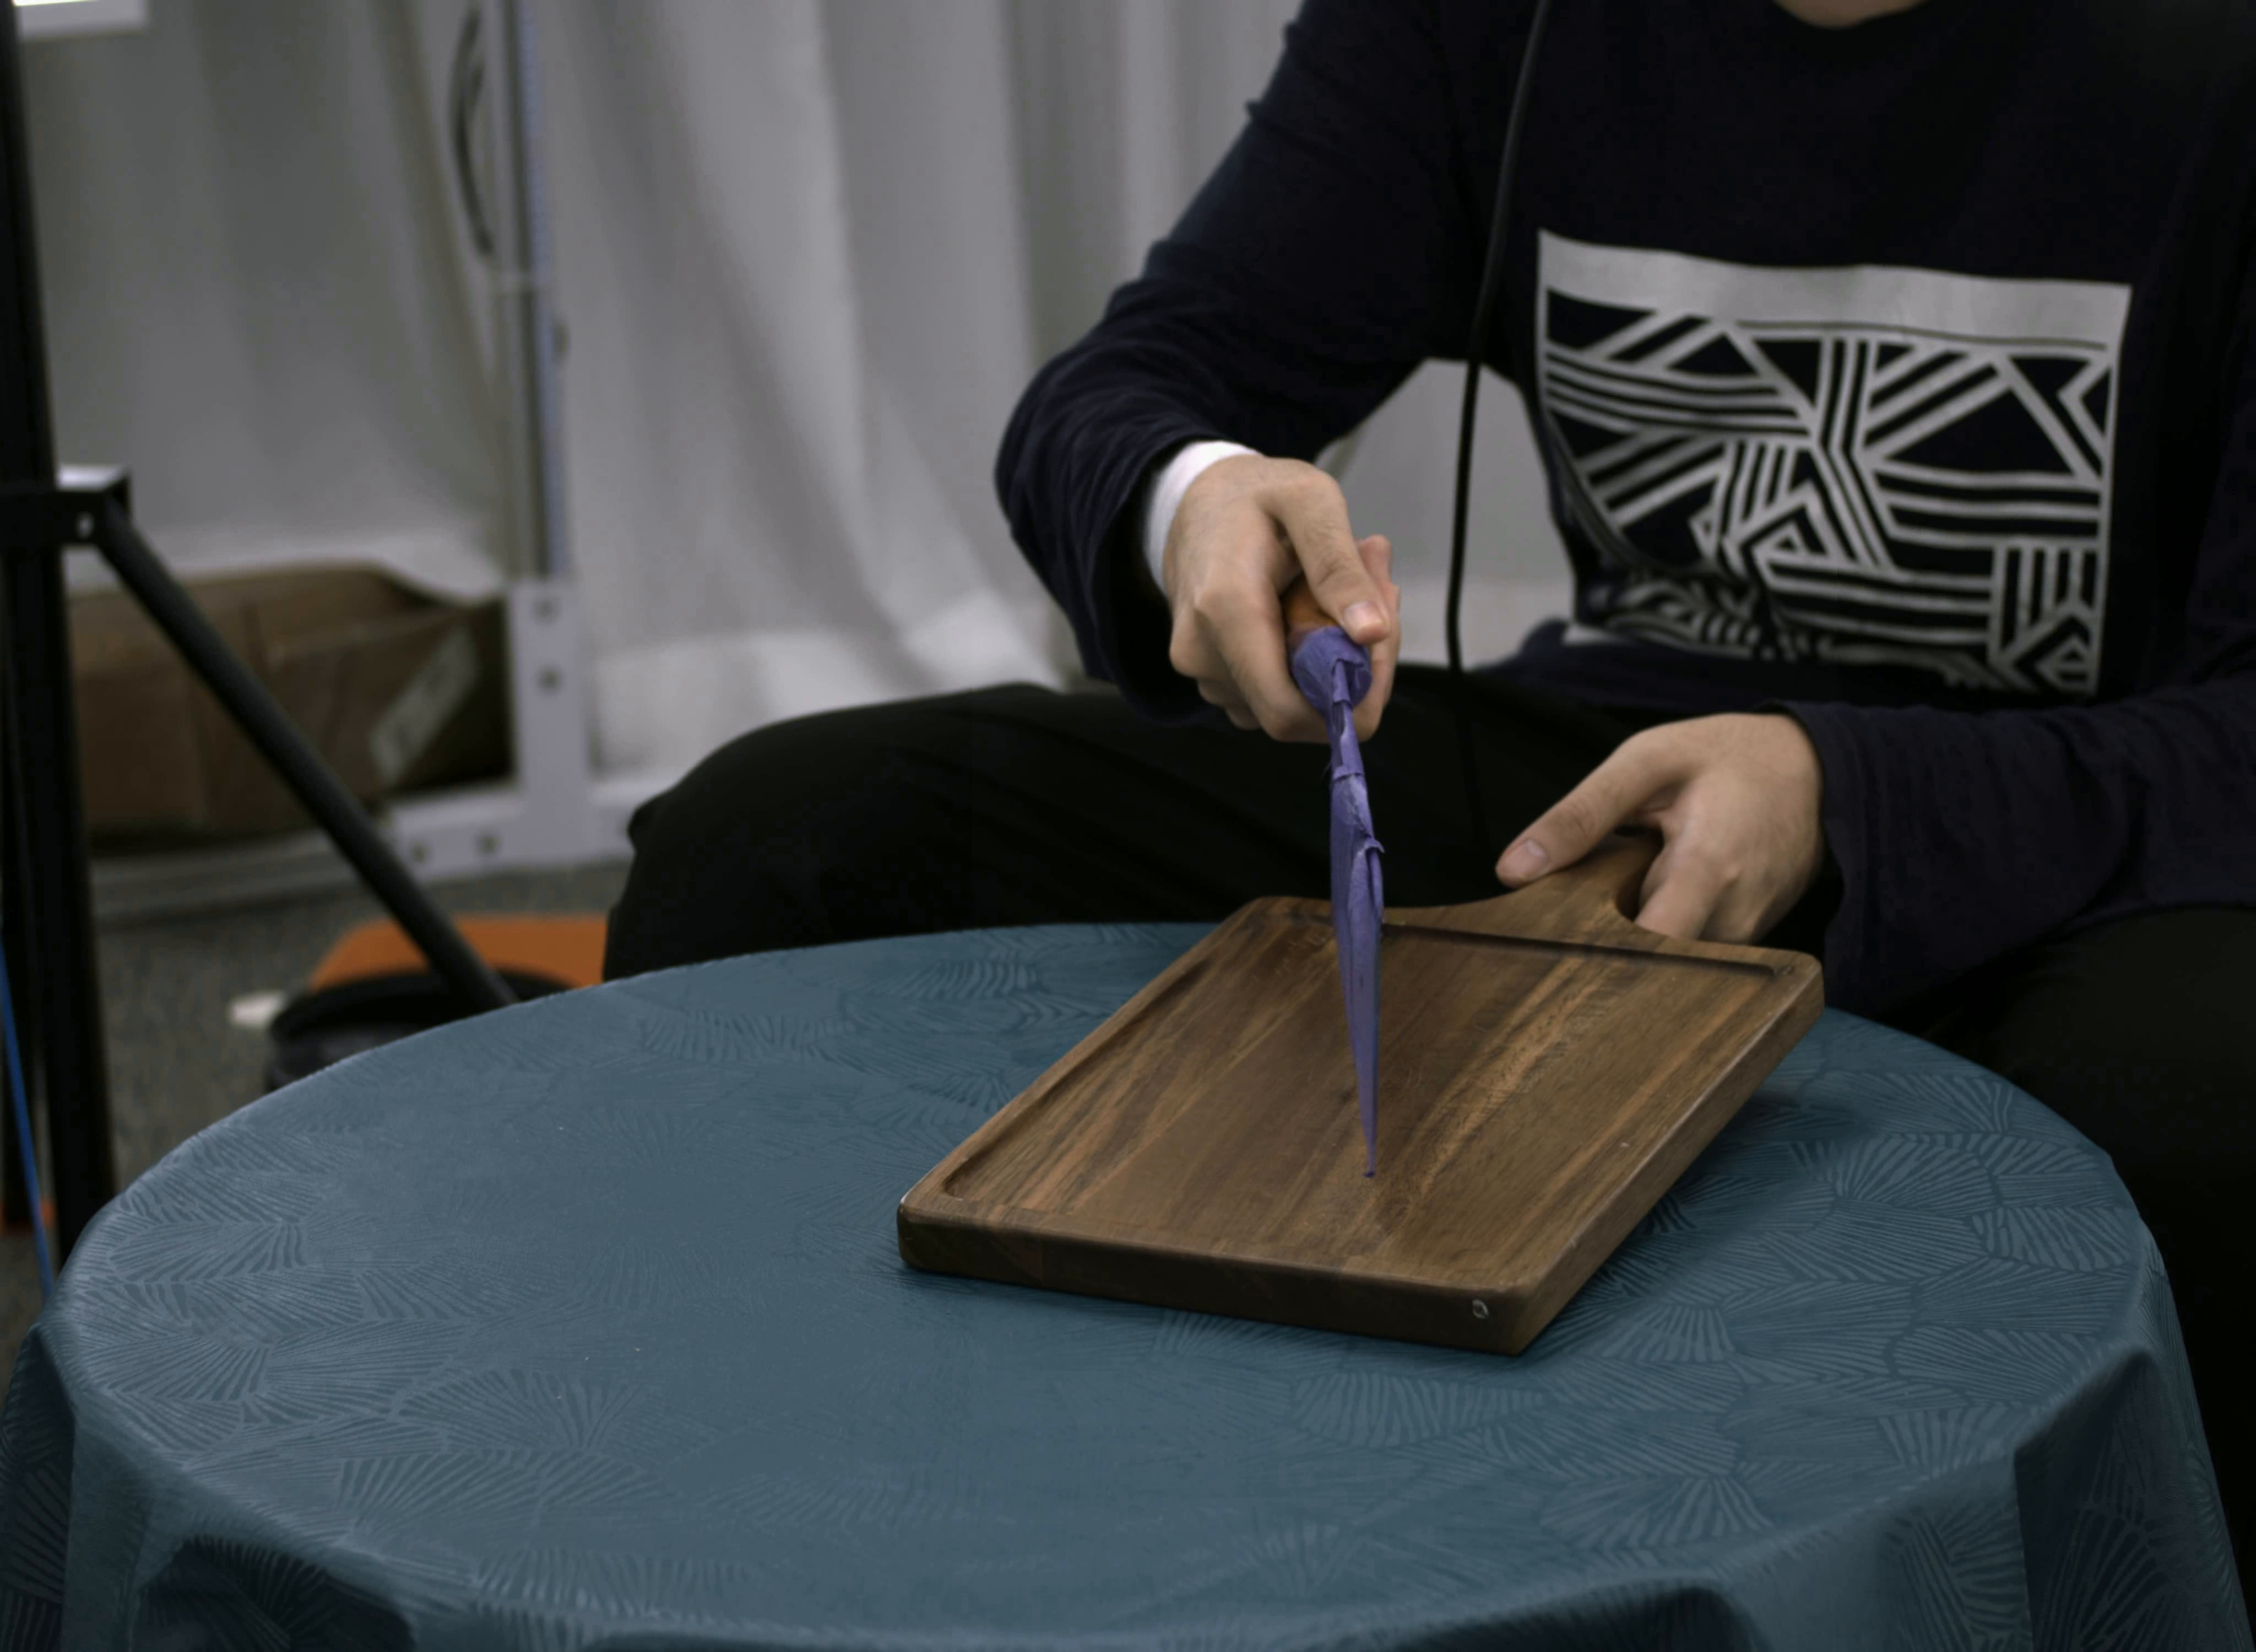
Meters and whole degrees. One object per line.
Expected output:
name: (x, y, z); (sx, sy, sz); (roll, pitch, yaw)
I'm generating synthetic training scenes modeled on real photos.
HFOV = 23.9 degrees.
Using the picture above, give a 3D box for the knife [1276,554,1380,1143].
knife: (0.062, 0.004, 1.610); (0.032, 0.104, 0.316); (1, 19, 0)

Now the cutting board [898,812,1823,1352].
cutting board: (0.095, 0.066, 1.601); (0.204, 0.023, 0.347); (5, 23, 27)
